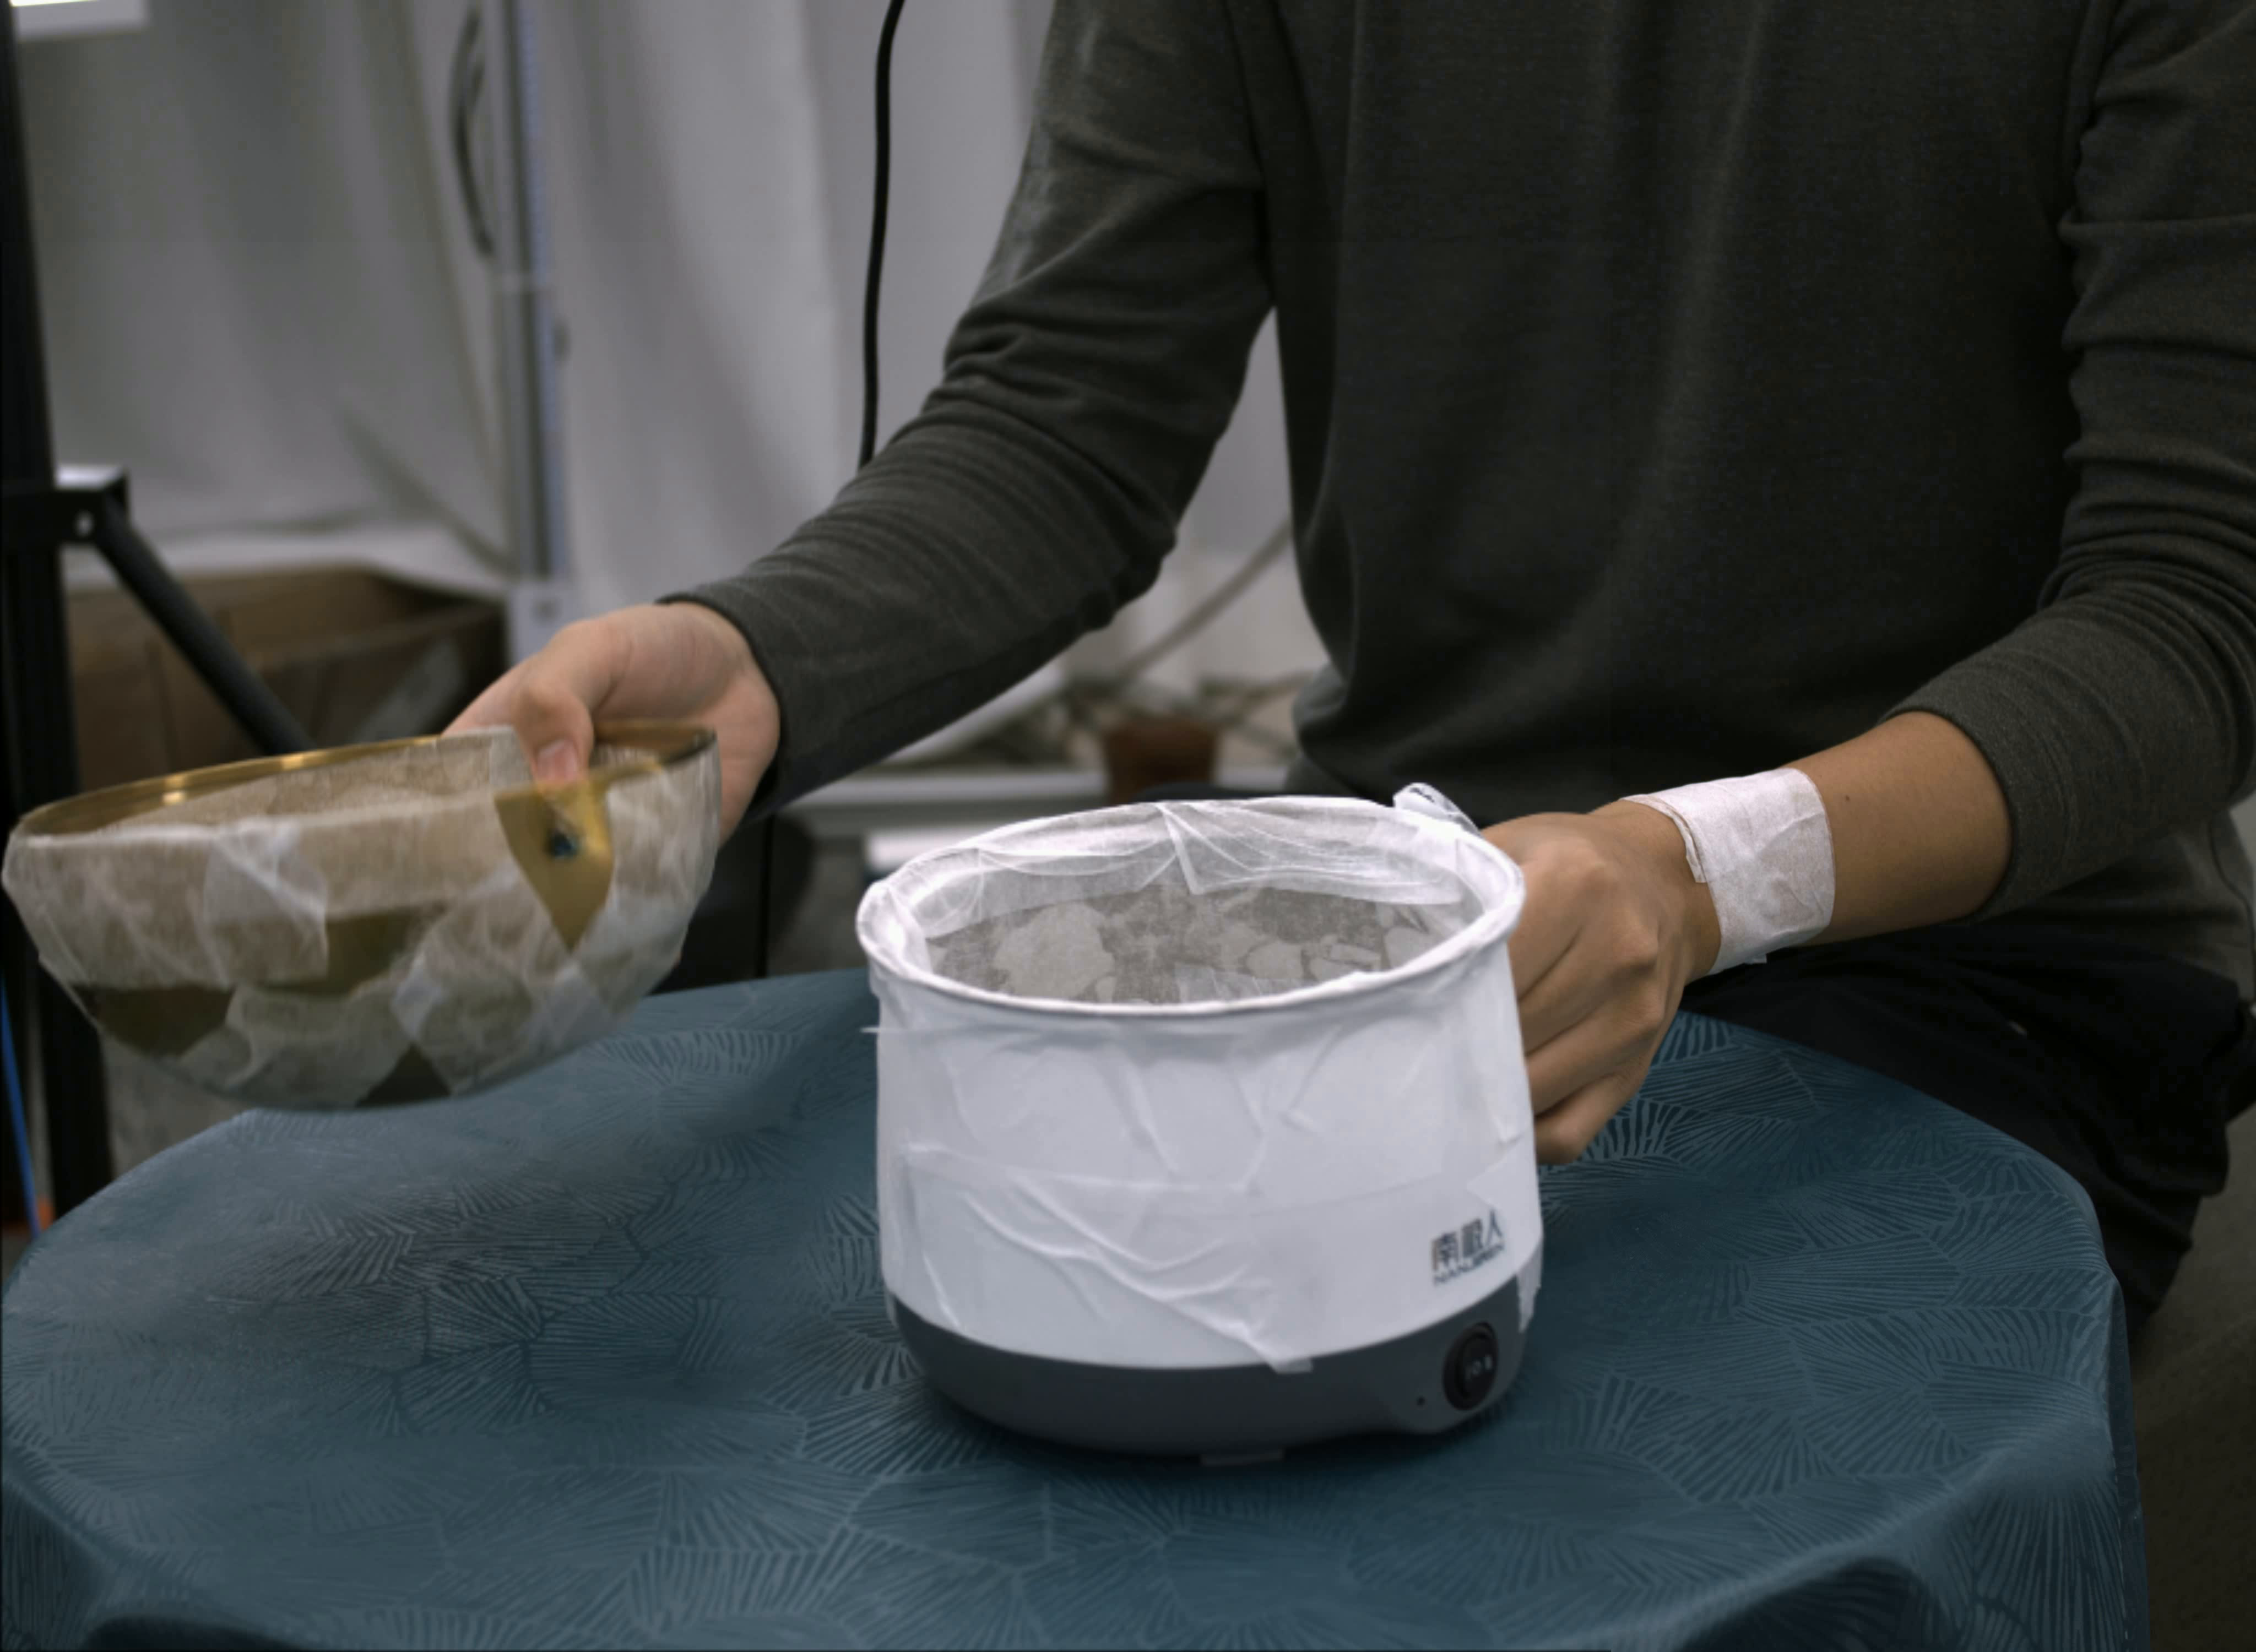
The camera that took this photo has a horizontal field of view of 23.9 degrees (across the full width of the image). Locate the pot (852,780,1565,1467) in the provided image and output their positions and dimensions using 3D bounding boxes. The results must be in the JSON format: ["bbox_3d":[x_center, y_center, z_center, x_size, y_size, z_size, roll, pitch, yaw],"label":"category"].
[{"bbox_3d":[0.037,0.071,1.425,0.182,0.136,0.229,11,22,39],"label":"pot"}]

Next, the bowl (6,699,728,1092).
[{"bbox_3d":[-0.203,0.024,1.497,0.213,0.095,0.215,-8,4,-1],"label":"bowl"}]
